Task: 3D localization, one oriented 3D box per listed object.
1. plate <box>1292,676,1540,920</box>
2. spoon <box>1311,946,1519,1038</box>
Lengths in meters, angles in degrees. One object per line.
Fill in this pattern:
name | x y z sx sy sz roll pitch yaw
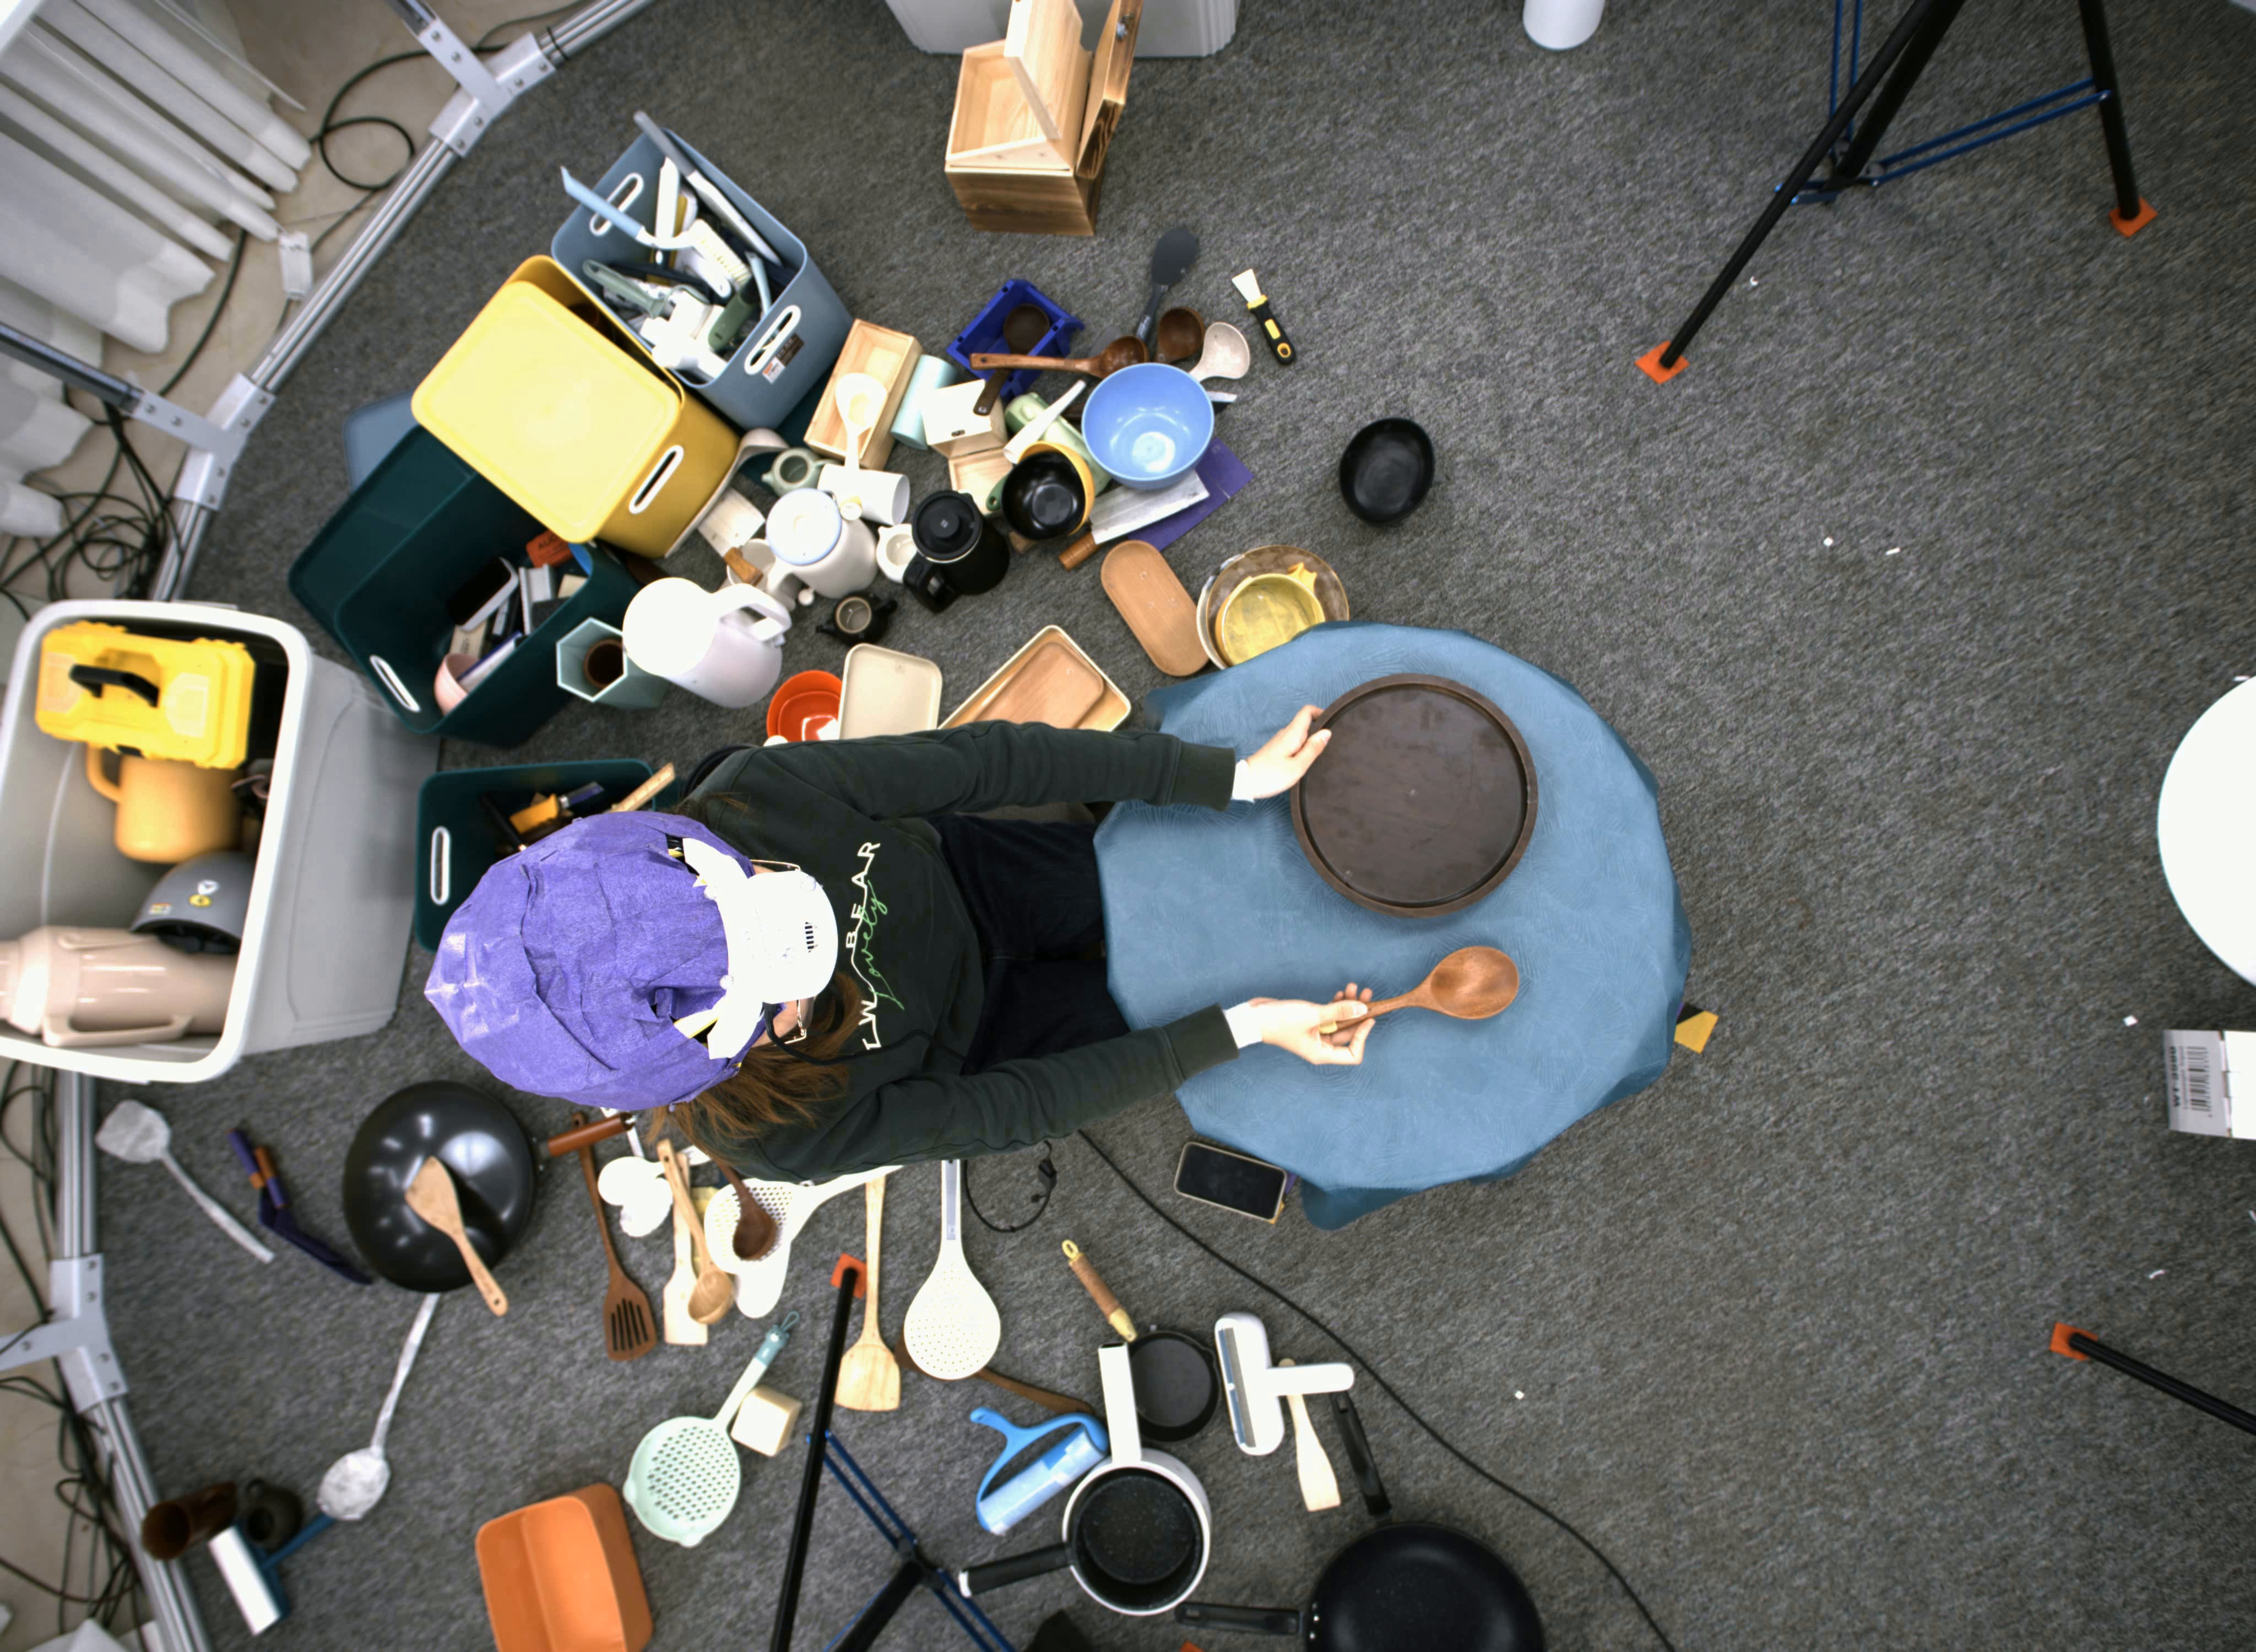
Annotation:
plate | 0.295 -0.031 1.419 0.255 0.029 0.253 -1 86 6
spoon | 0.292 0.176 1.410 0.216 0.017 0.075 -16 81 3
